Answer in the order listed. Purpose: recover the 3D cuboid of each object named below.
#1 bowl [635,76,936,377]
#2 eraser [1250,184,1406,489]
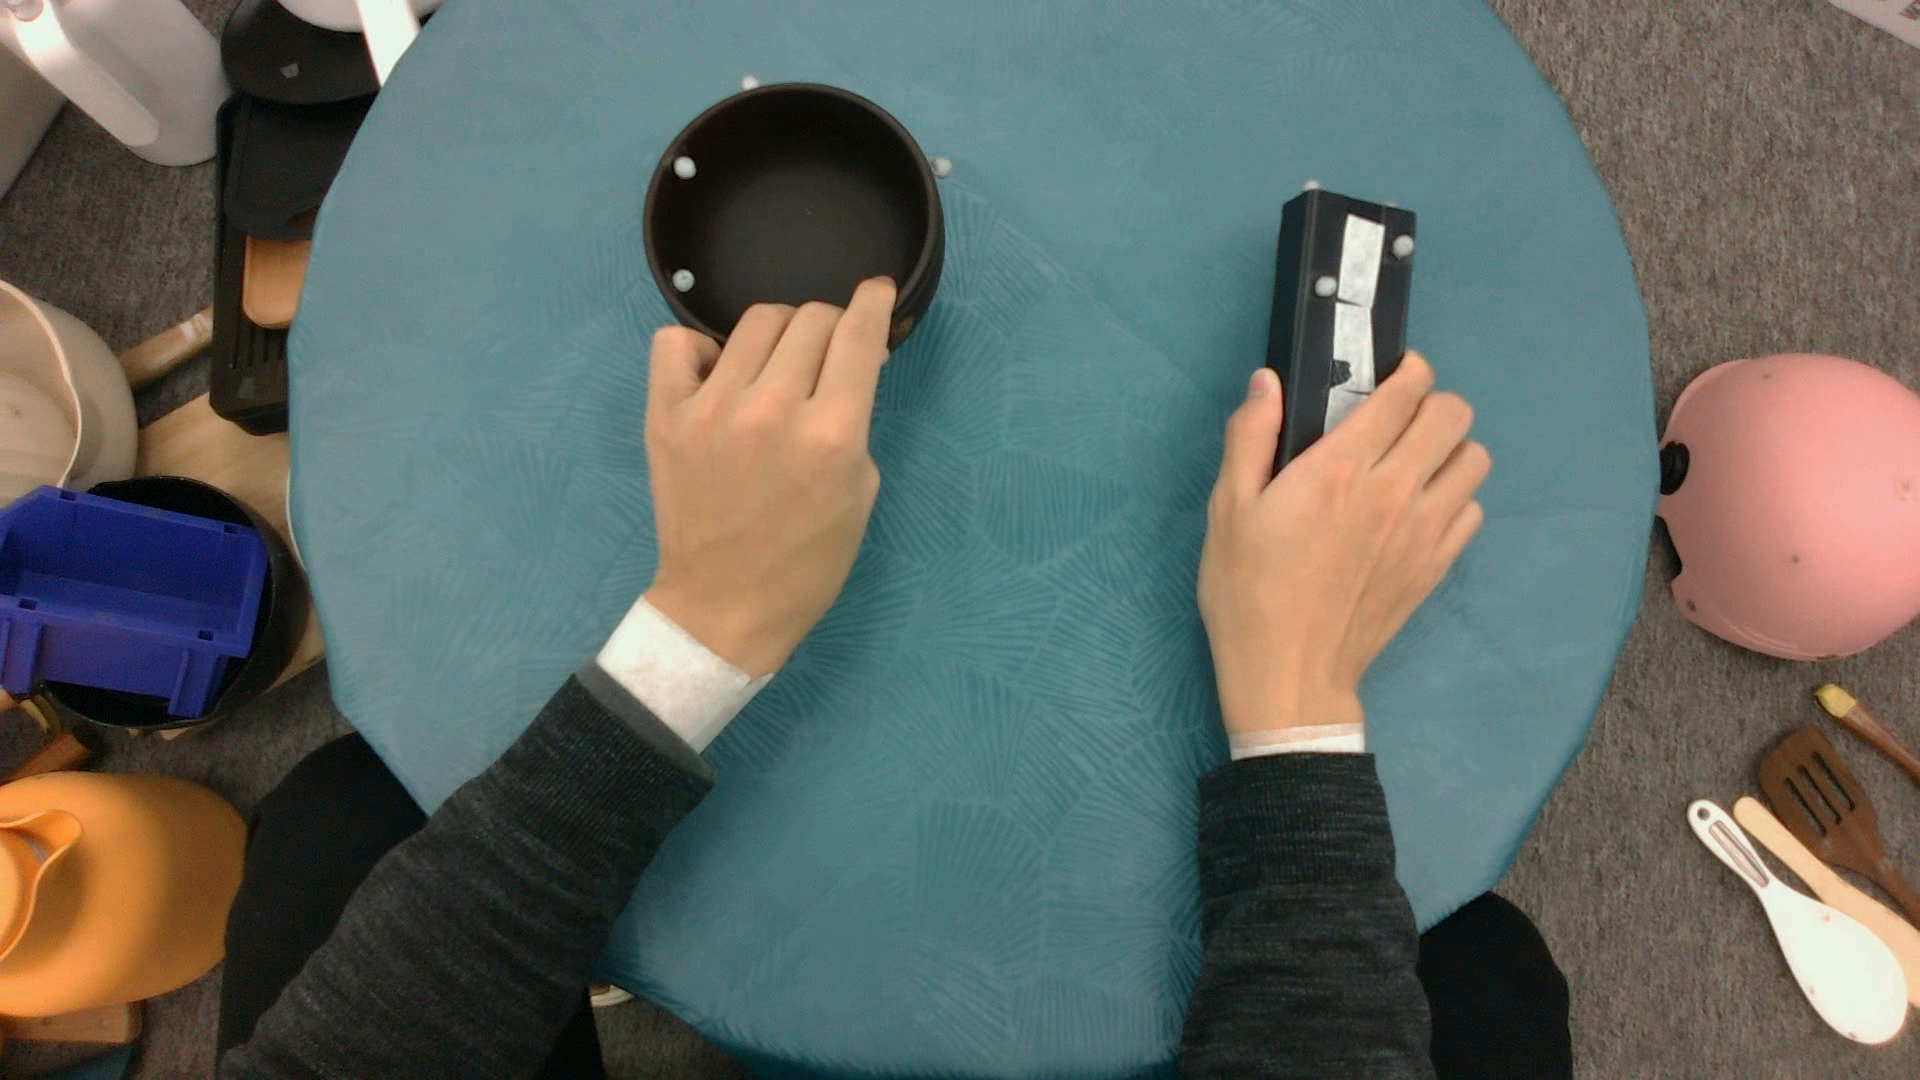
[{"bbox_3d":[-0.068,-0.122,0.567,0.118,0.070,0.118,0,78,2],"label":"bowl"},{"bbox_3d":[0.155,-0.086,0.582,0.053,0.030,0.125,9,81,-9],"label":"eraser"}]
